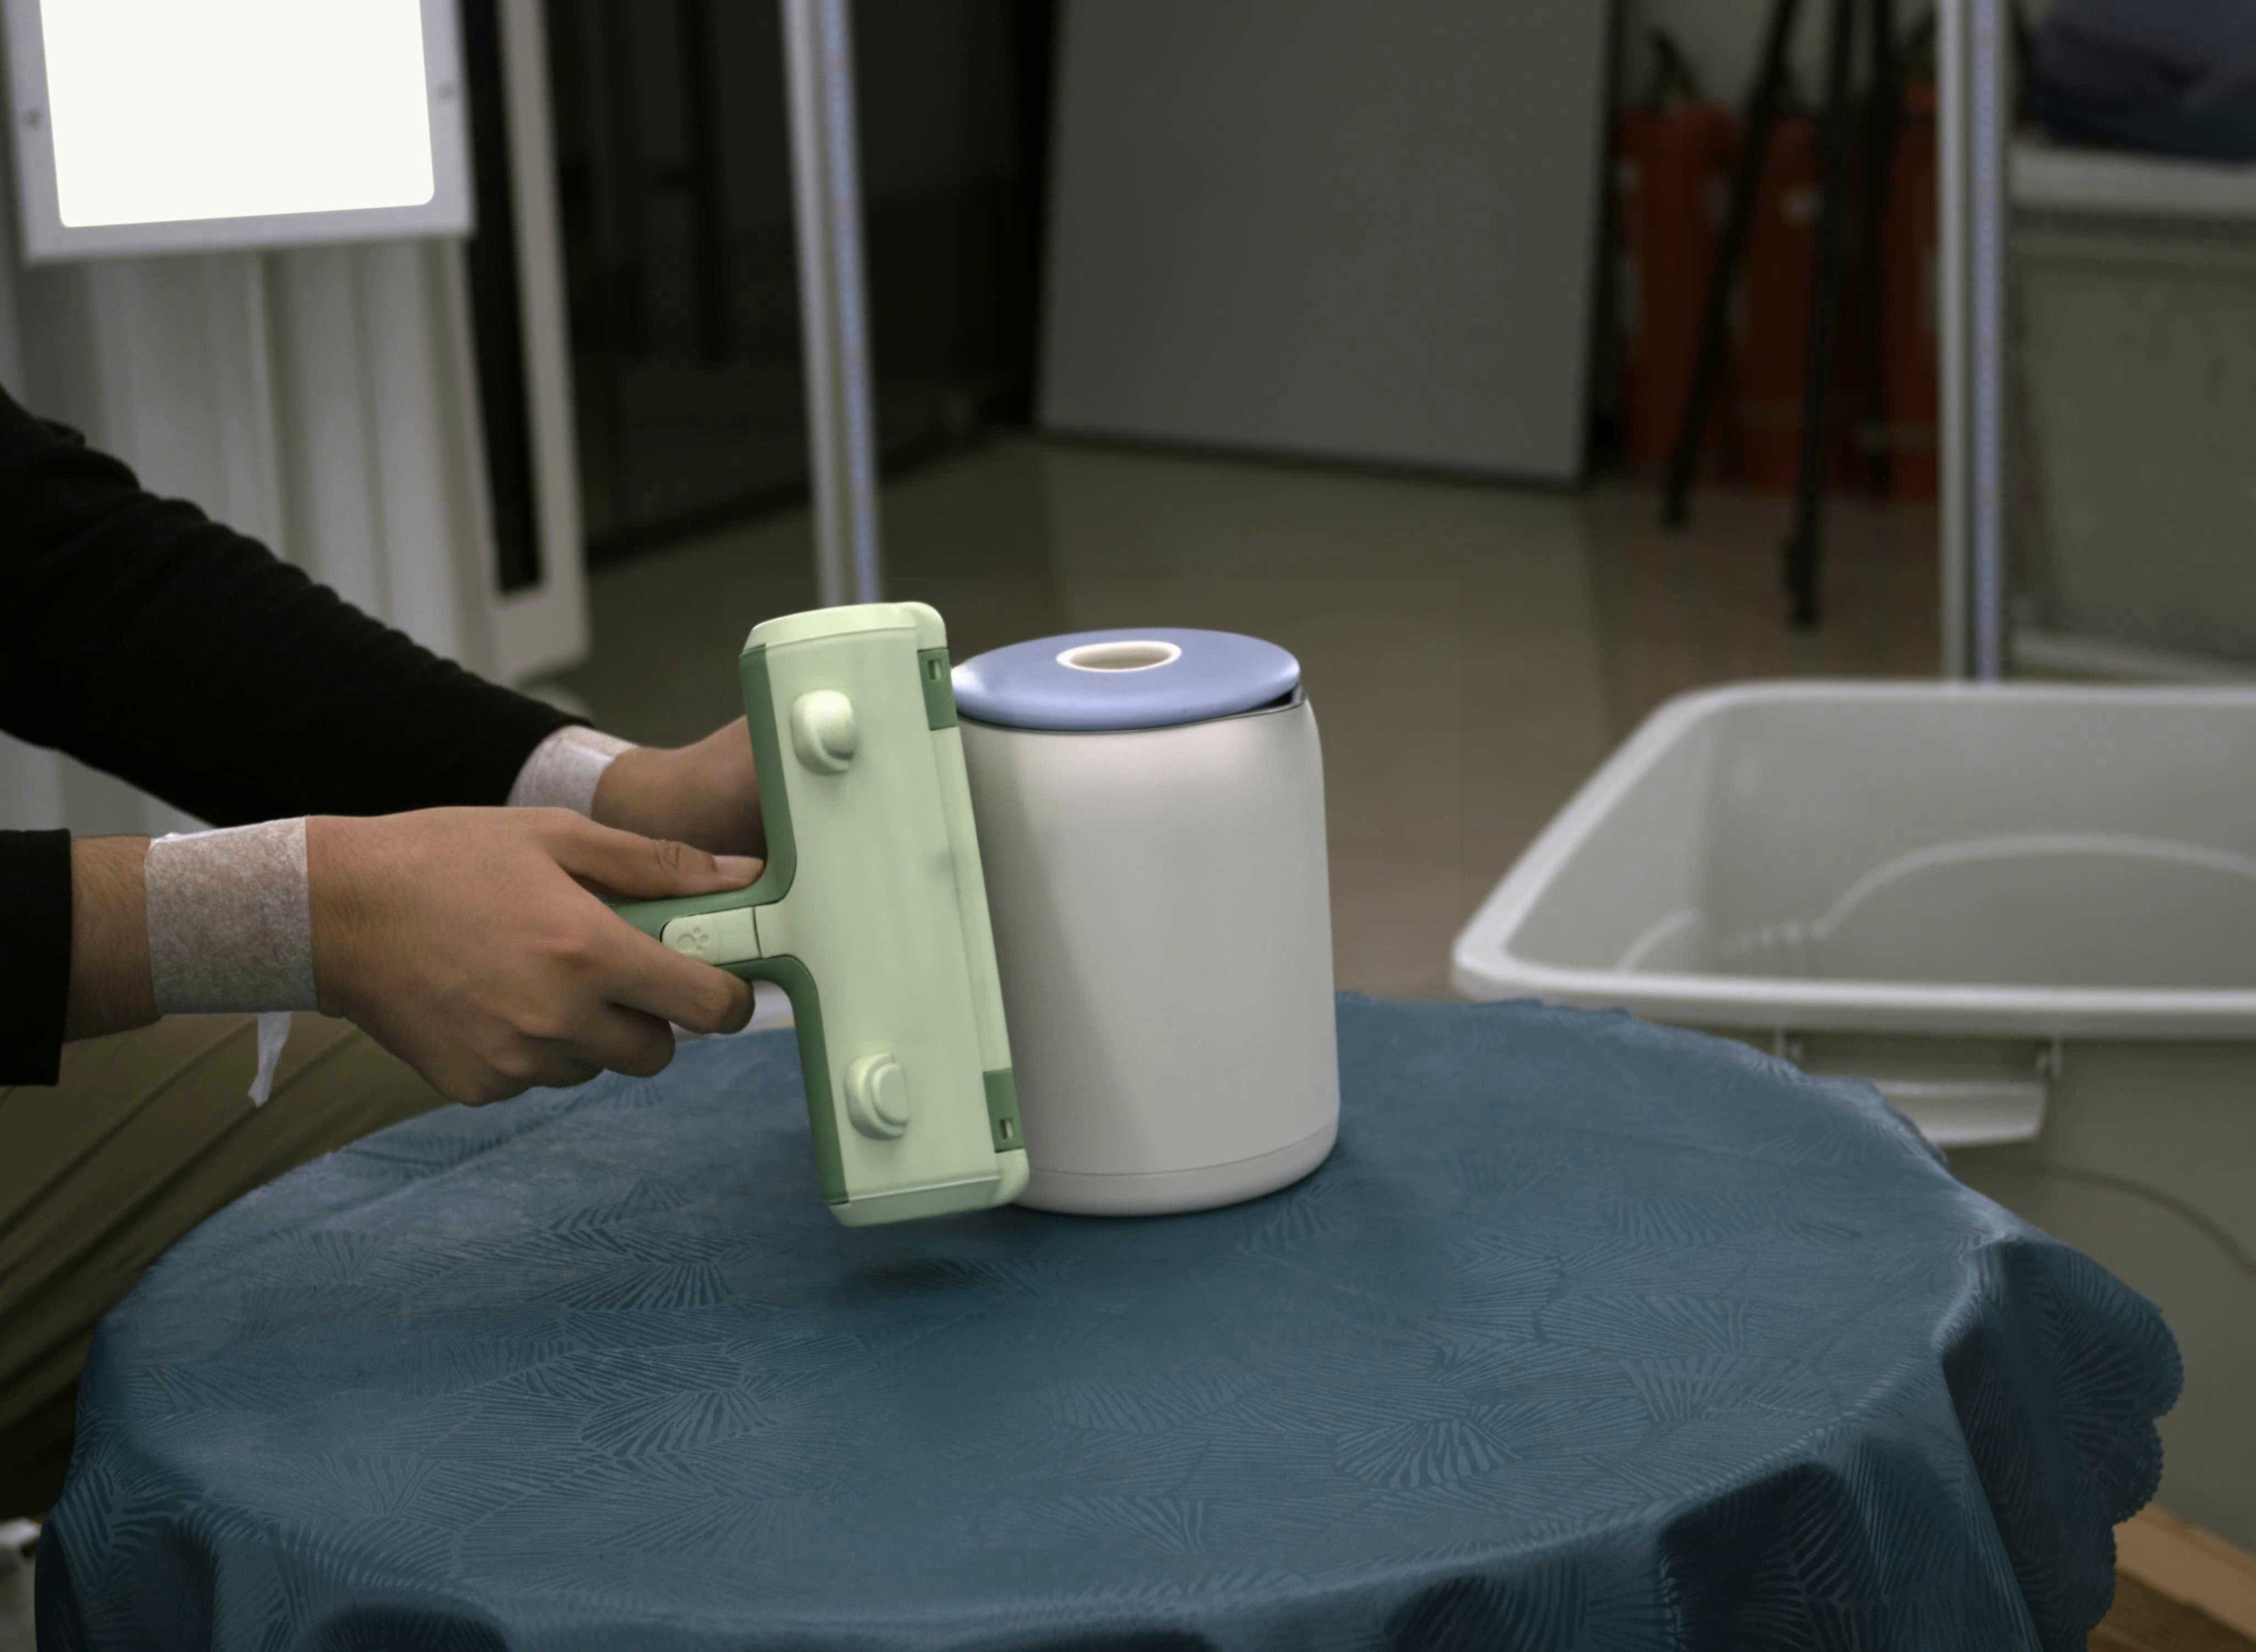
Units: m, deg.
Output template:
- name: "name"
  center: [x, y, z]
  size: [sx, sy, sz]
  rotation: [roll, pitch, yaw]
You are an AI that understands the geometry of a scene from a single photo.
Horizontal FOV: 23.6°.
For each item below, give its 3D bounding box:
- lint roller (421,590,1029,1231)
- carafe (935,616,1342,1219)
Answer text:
- name: "lint roller"
  center: [-0.134, 0.036, 1.697]
  size: [0.181, 0.201, 0.082]
  rotation: [-9, -4, -2]
- name: "carafe"
  center: [-0.019, 0.028, 1.790]
  size: [0.192, 0.184, 0.130]
  rotation: [2, 14, 31]
